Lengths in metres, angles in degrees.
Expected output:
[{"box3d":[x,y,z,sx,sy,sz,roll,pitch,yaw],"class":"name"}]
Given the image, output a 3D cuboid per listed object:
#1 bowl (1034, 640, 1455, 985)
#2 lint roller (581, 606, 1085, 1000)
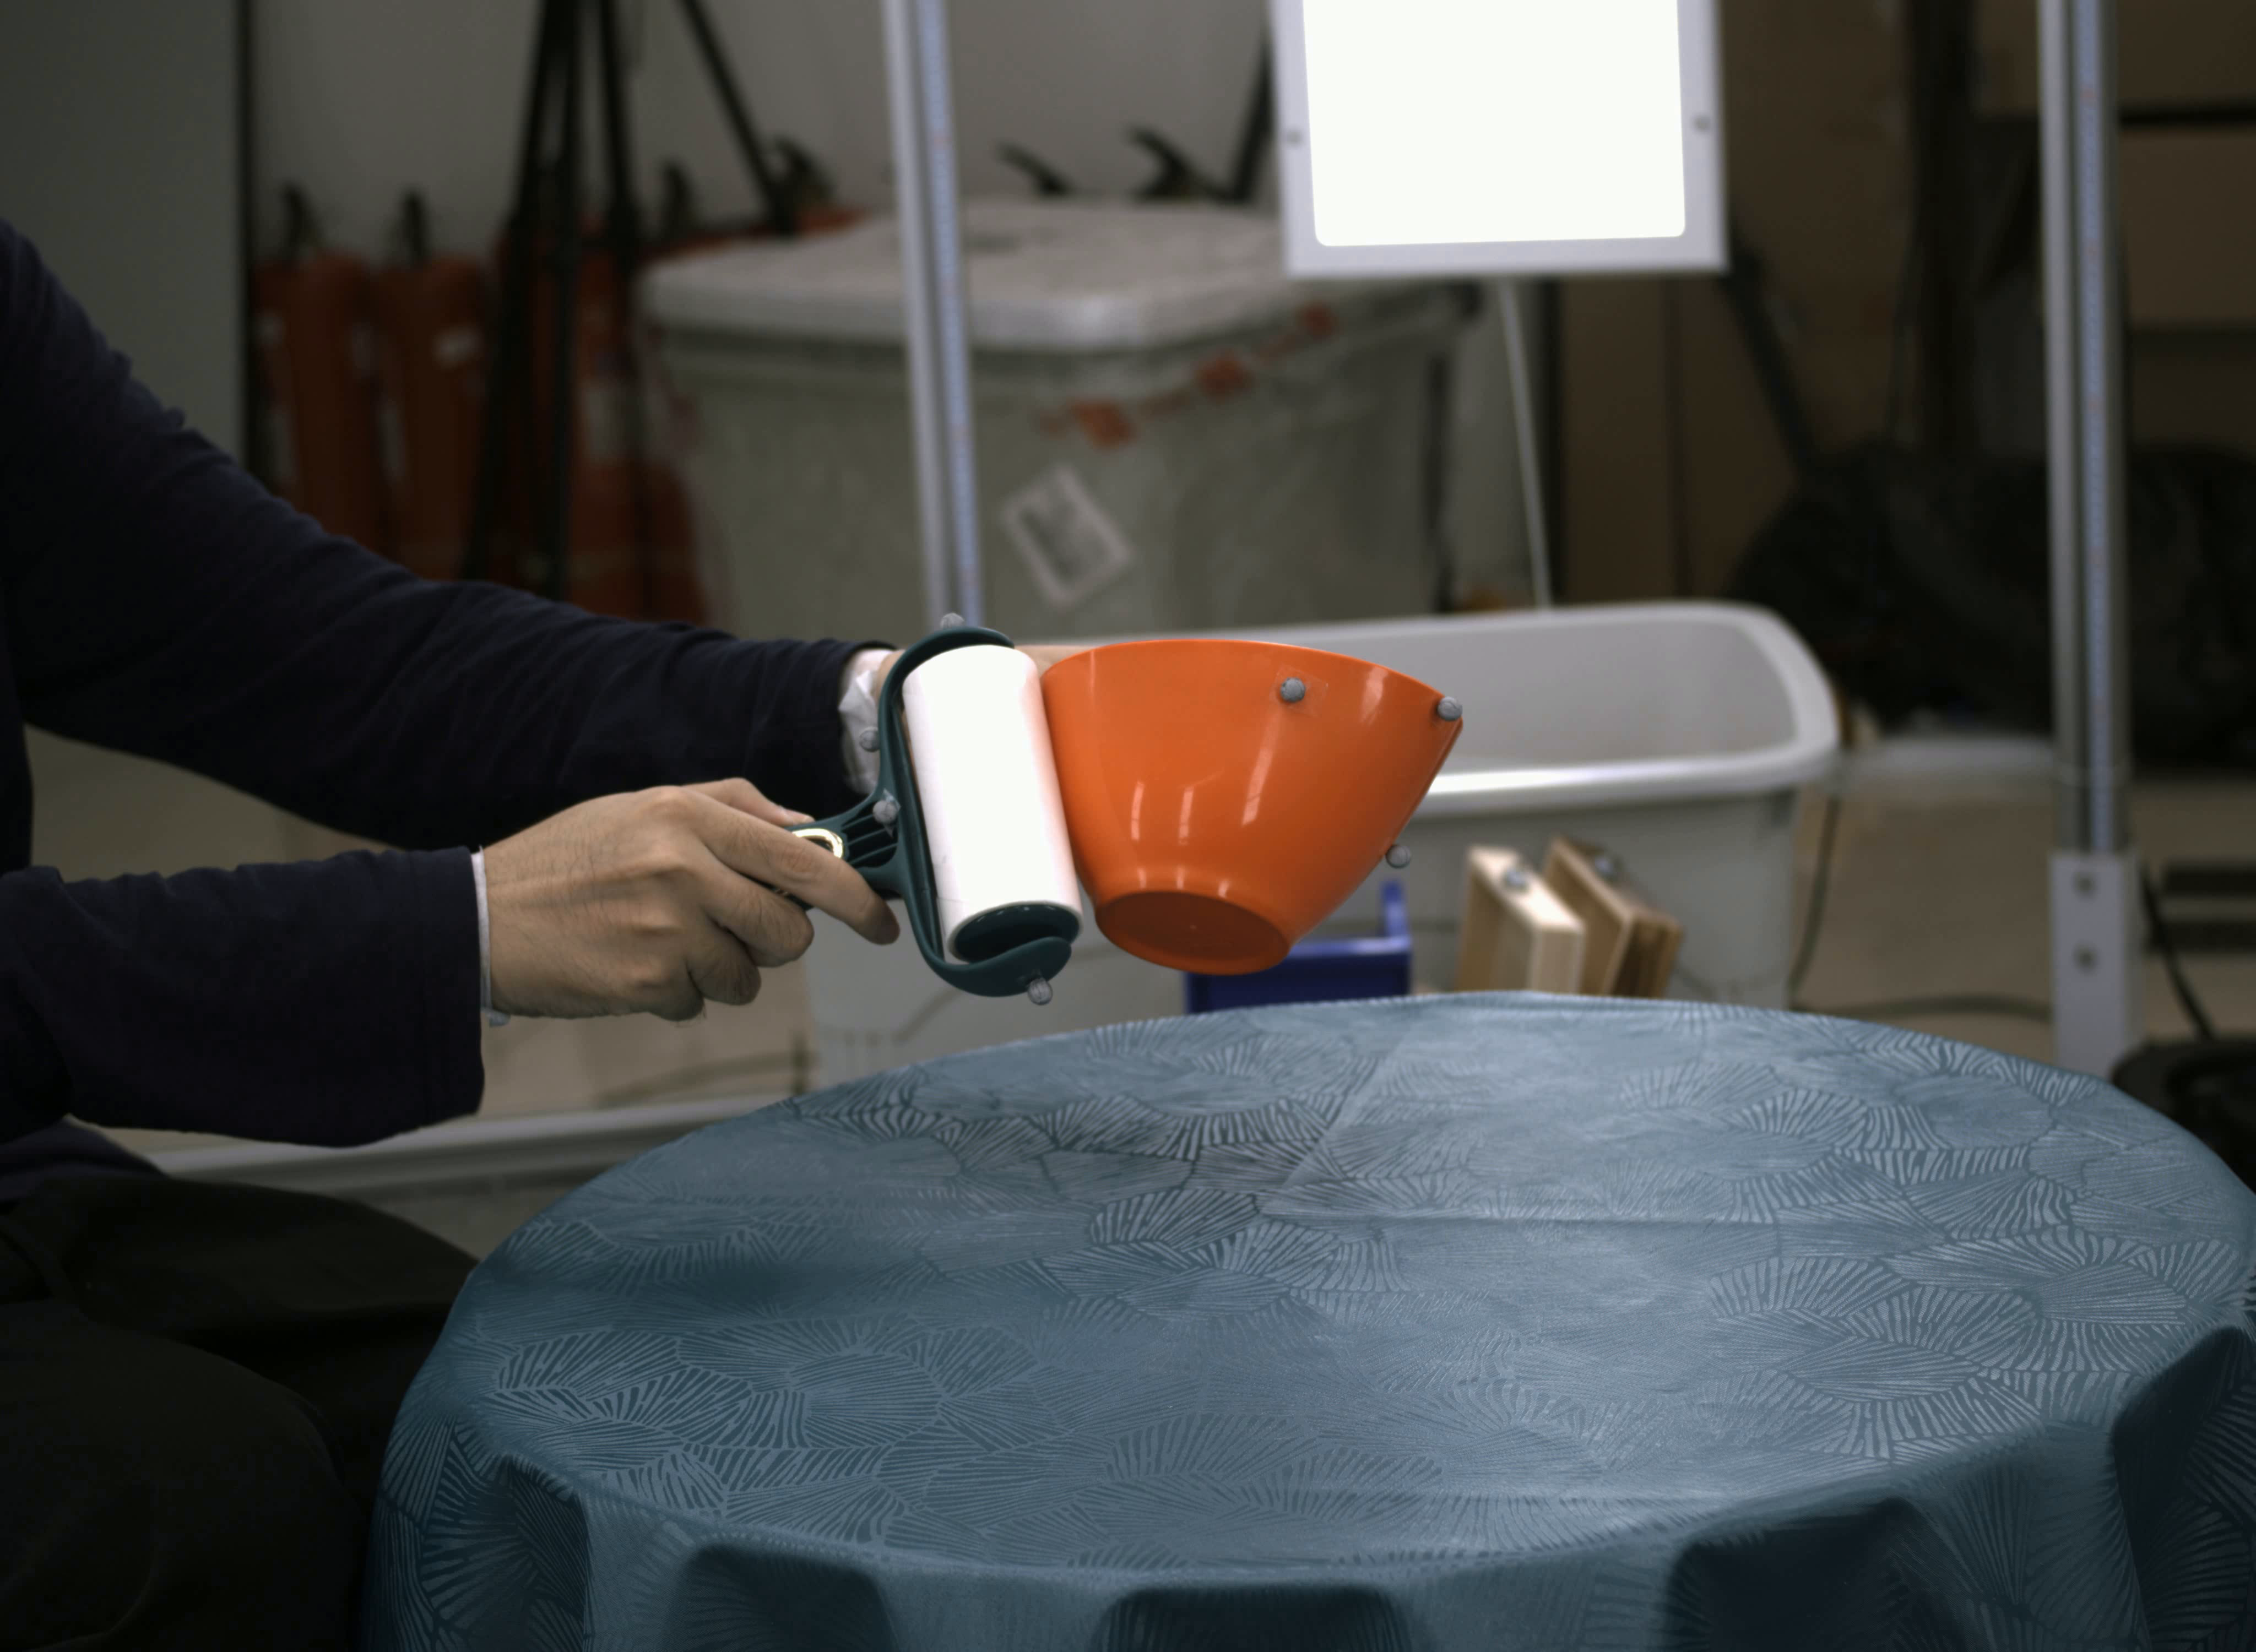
[{"box3d":[0.033,-0.002,1.878,0.148,0.104,0.148,9,-25,3],"class":"bowl"},{"box3d":[-0.109,0.012,1.870,0.181,0.134,0.048,-17,-28,11],"class":"lint roller"}]
